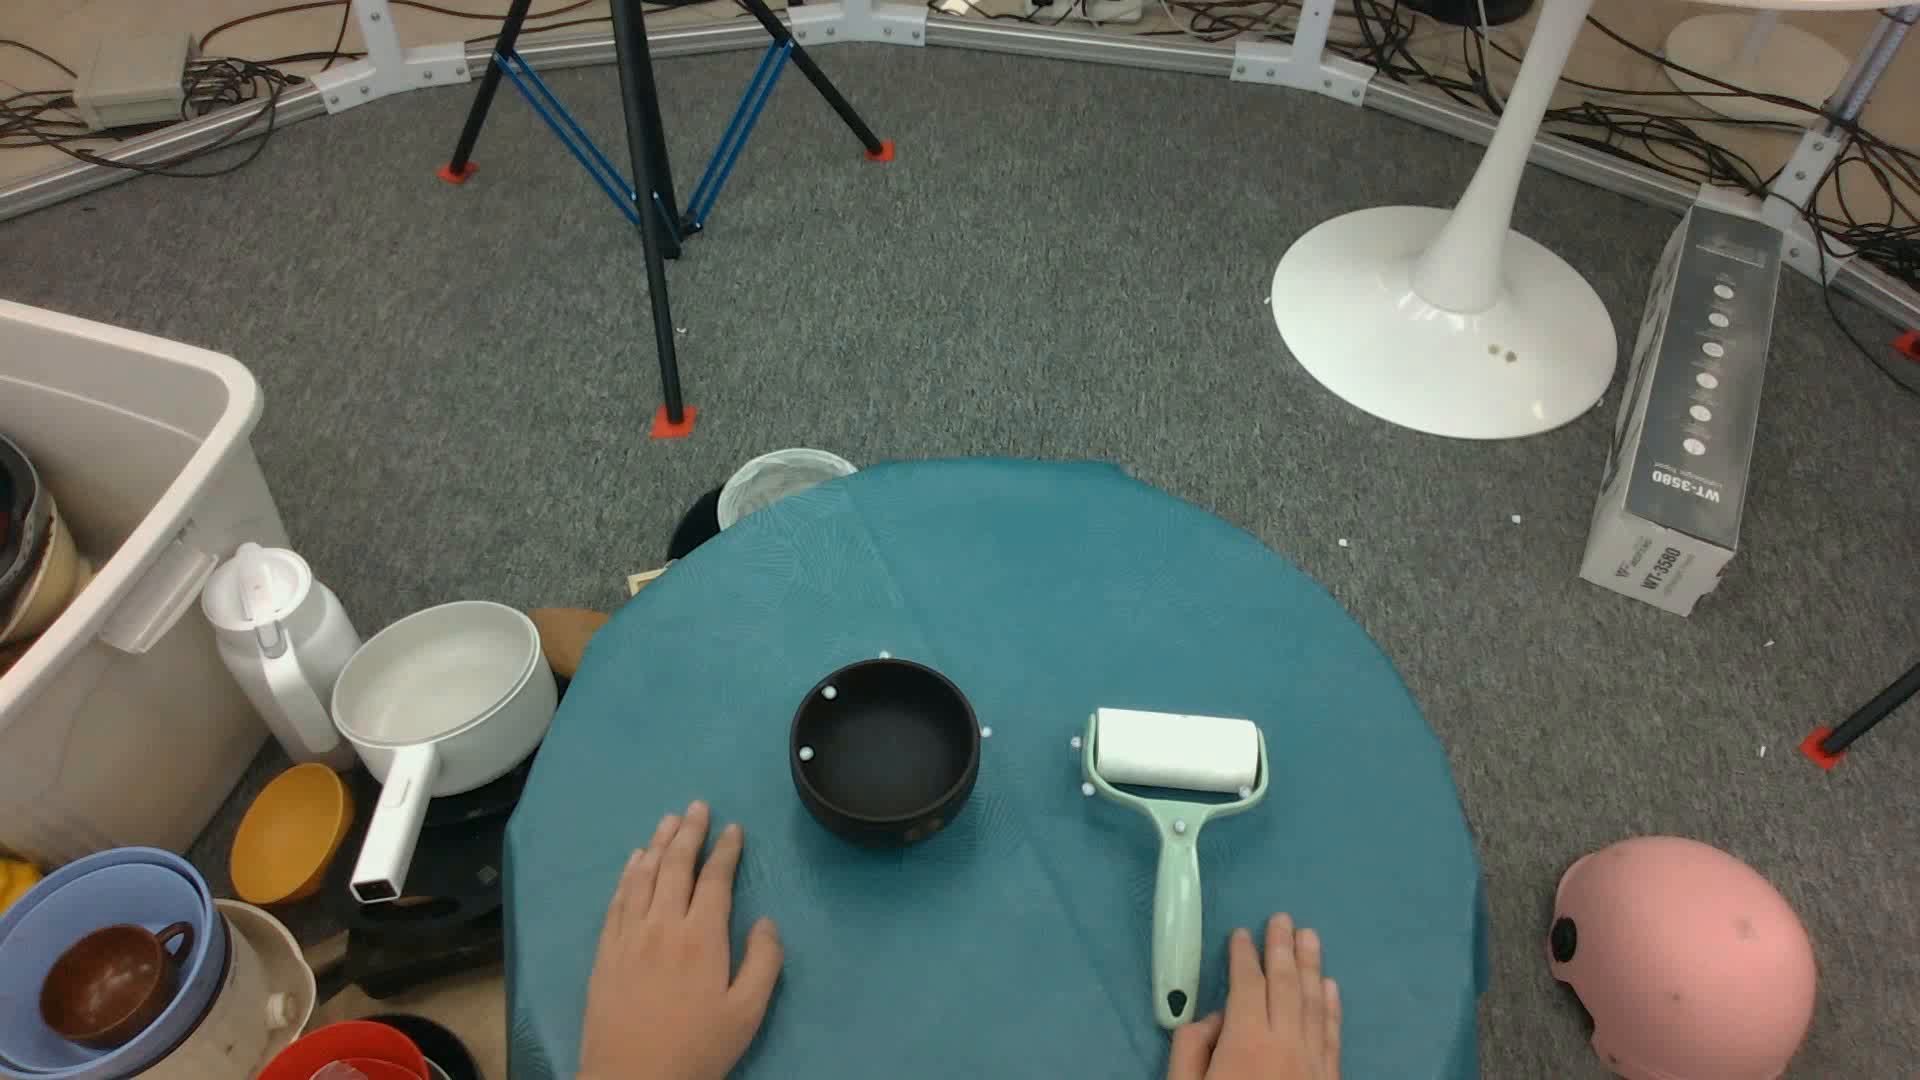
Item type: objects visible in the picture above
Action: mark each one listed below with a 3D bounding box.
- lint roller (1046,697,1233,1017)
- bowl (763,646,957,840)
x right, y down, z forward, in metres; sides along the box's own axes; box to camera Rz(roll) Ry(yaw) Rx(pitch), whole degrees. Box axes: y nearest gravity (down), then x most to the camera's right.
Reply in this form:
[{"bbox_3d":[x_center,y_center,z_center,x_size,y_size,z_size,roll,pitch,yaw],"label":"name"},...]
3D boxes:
[{"bbox_3d":[0.109,0.186,0.839,0.116,0.048,0.198,5,53,-1],"label":"lint roller"},{"bbox_3d":[-0.062,0.132,0.852,0.118,0.069,0.118,2,53,-3],"label":"bowl"}]
